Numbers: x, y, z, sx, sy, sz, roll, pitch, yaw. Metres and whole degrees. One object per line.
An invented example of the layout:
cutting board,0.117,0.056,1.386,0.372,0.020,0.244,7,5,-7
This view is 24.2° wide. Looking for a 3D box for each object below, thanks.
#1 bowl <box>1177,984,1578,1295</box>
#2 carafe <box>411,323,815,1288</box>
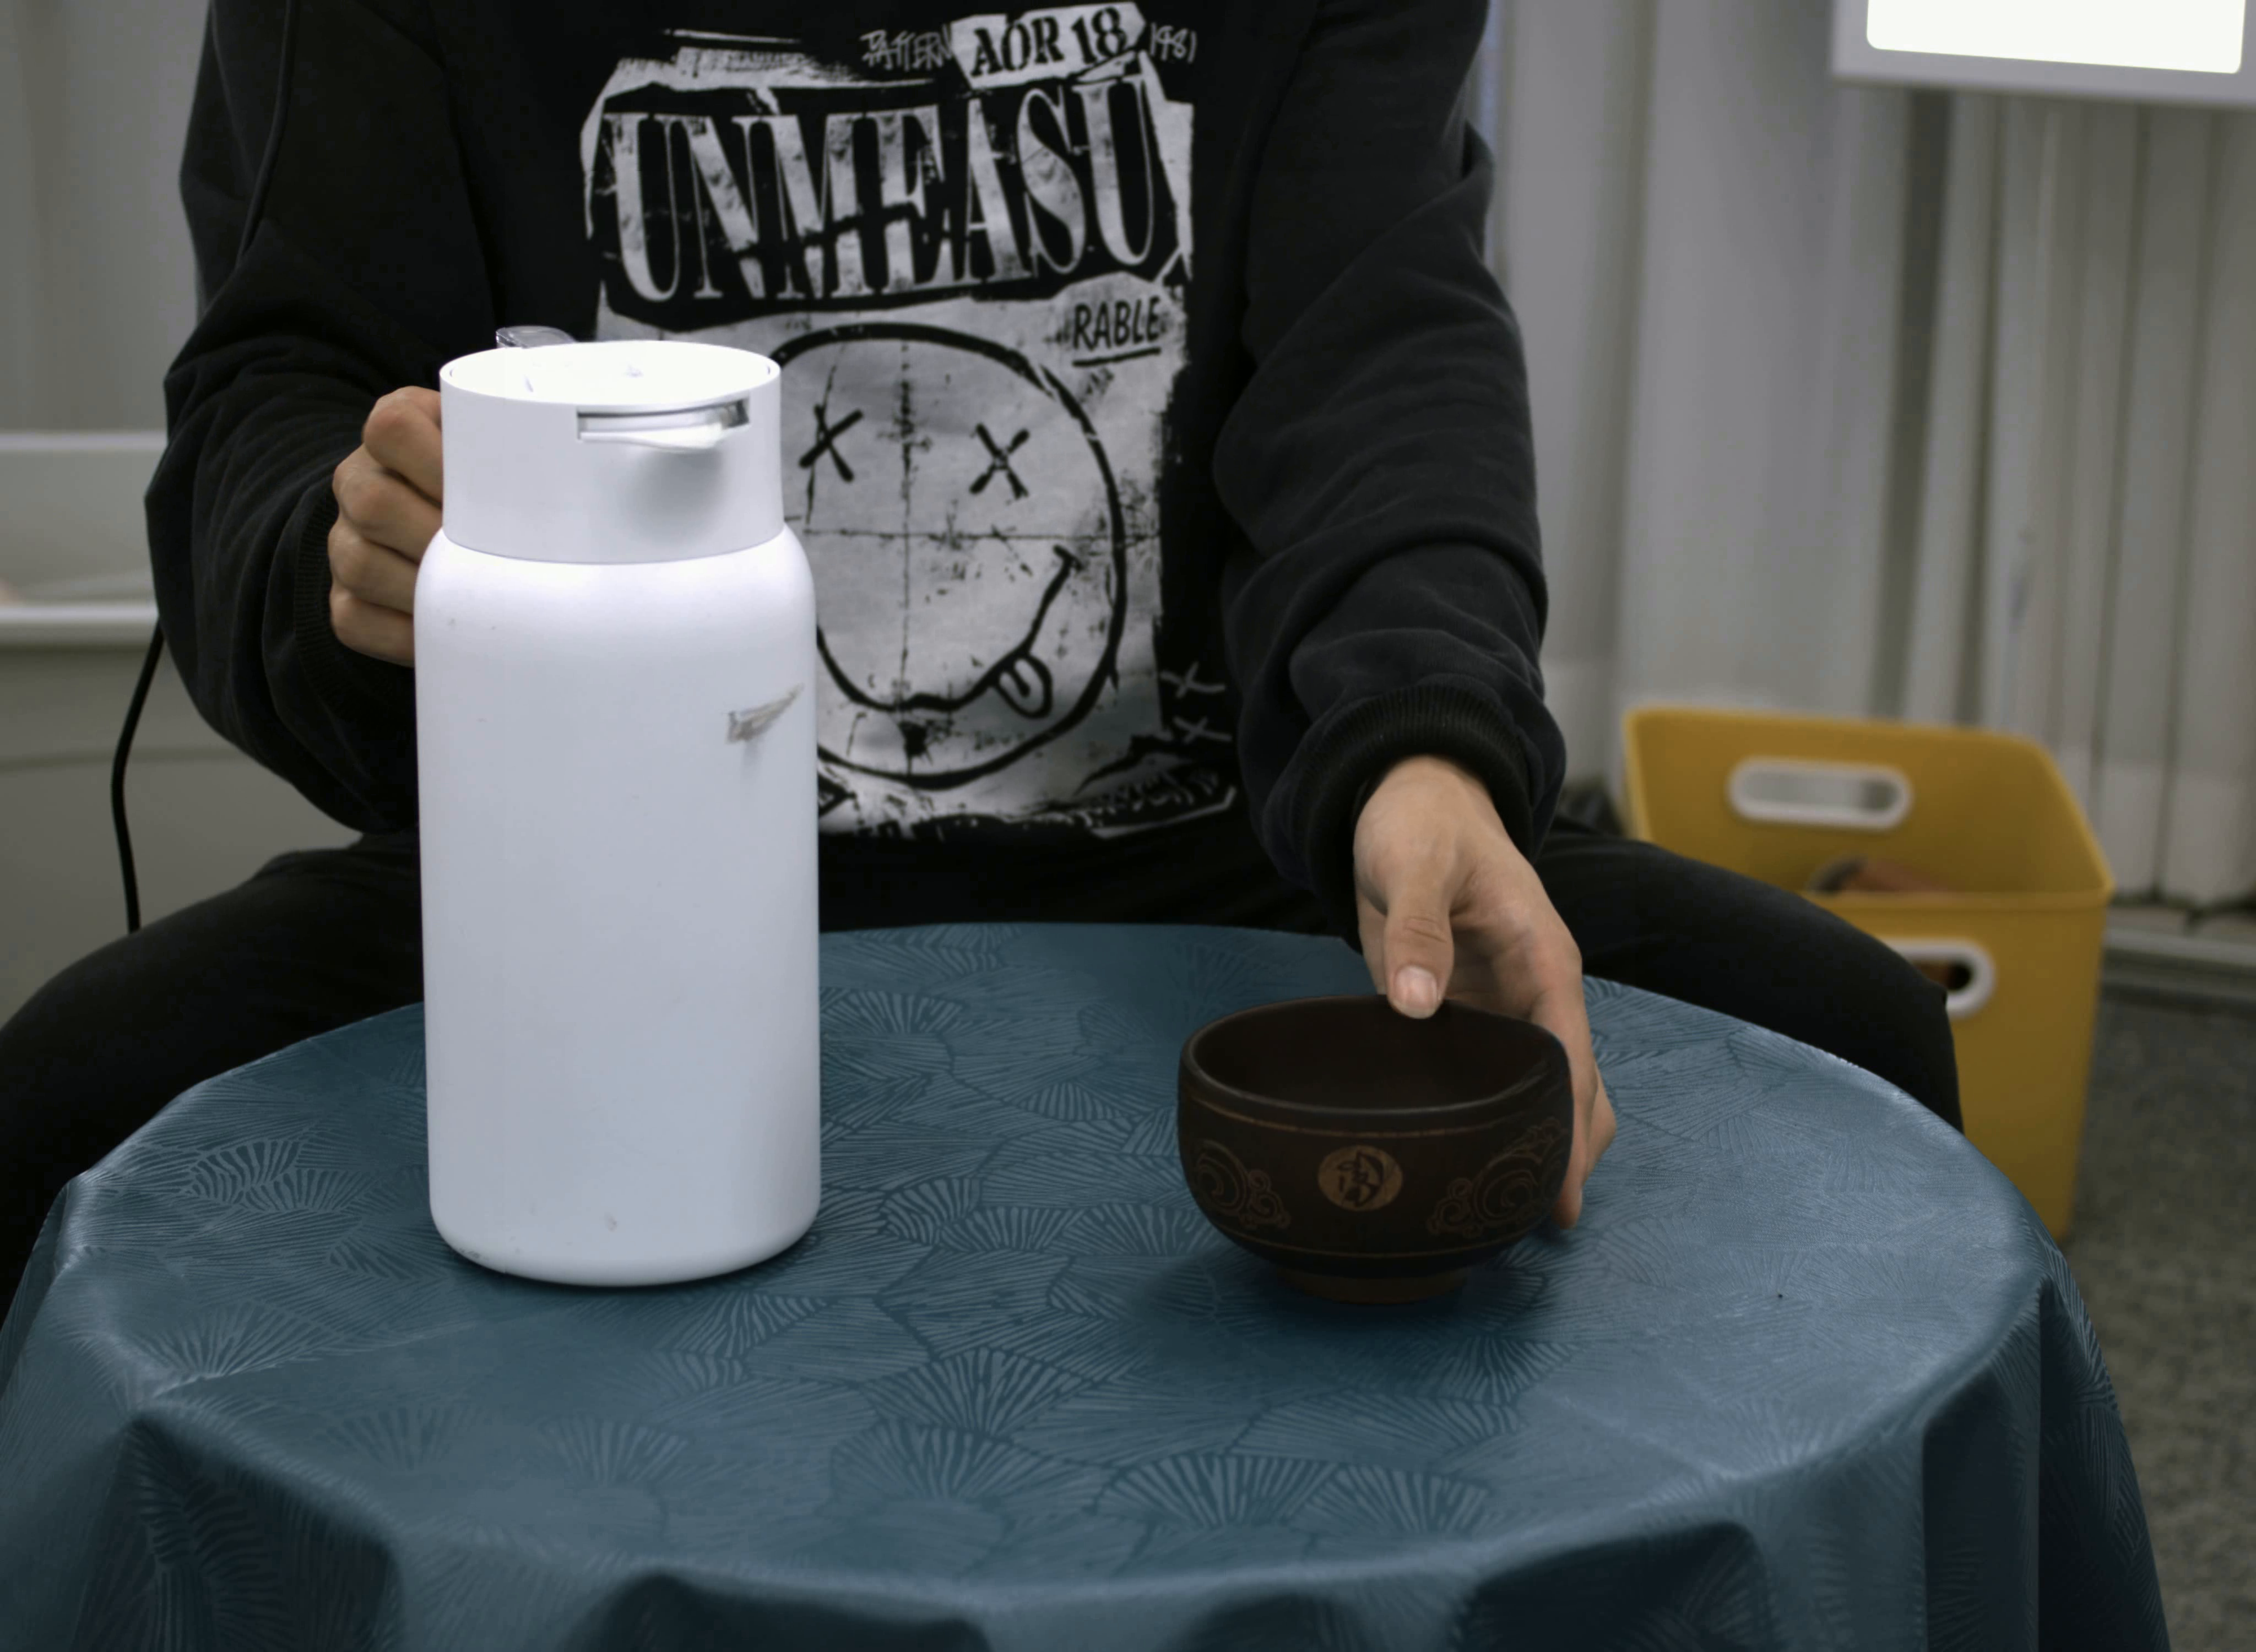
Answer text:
bowl,0.073,0.096,1.546,0.117,0.070,0.117,0,15,1
carafe,-0.160,-0.010,1.559,0.124,0.271,0.170,-10,19,-27
